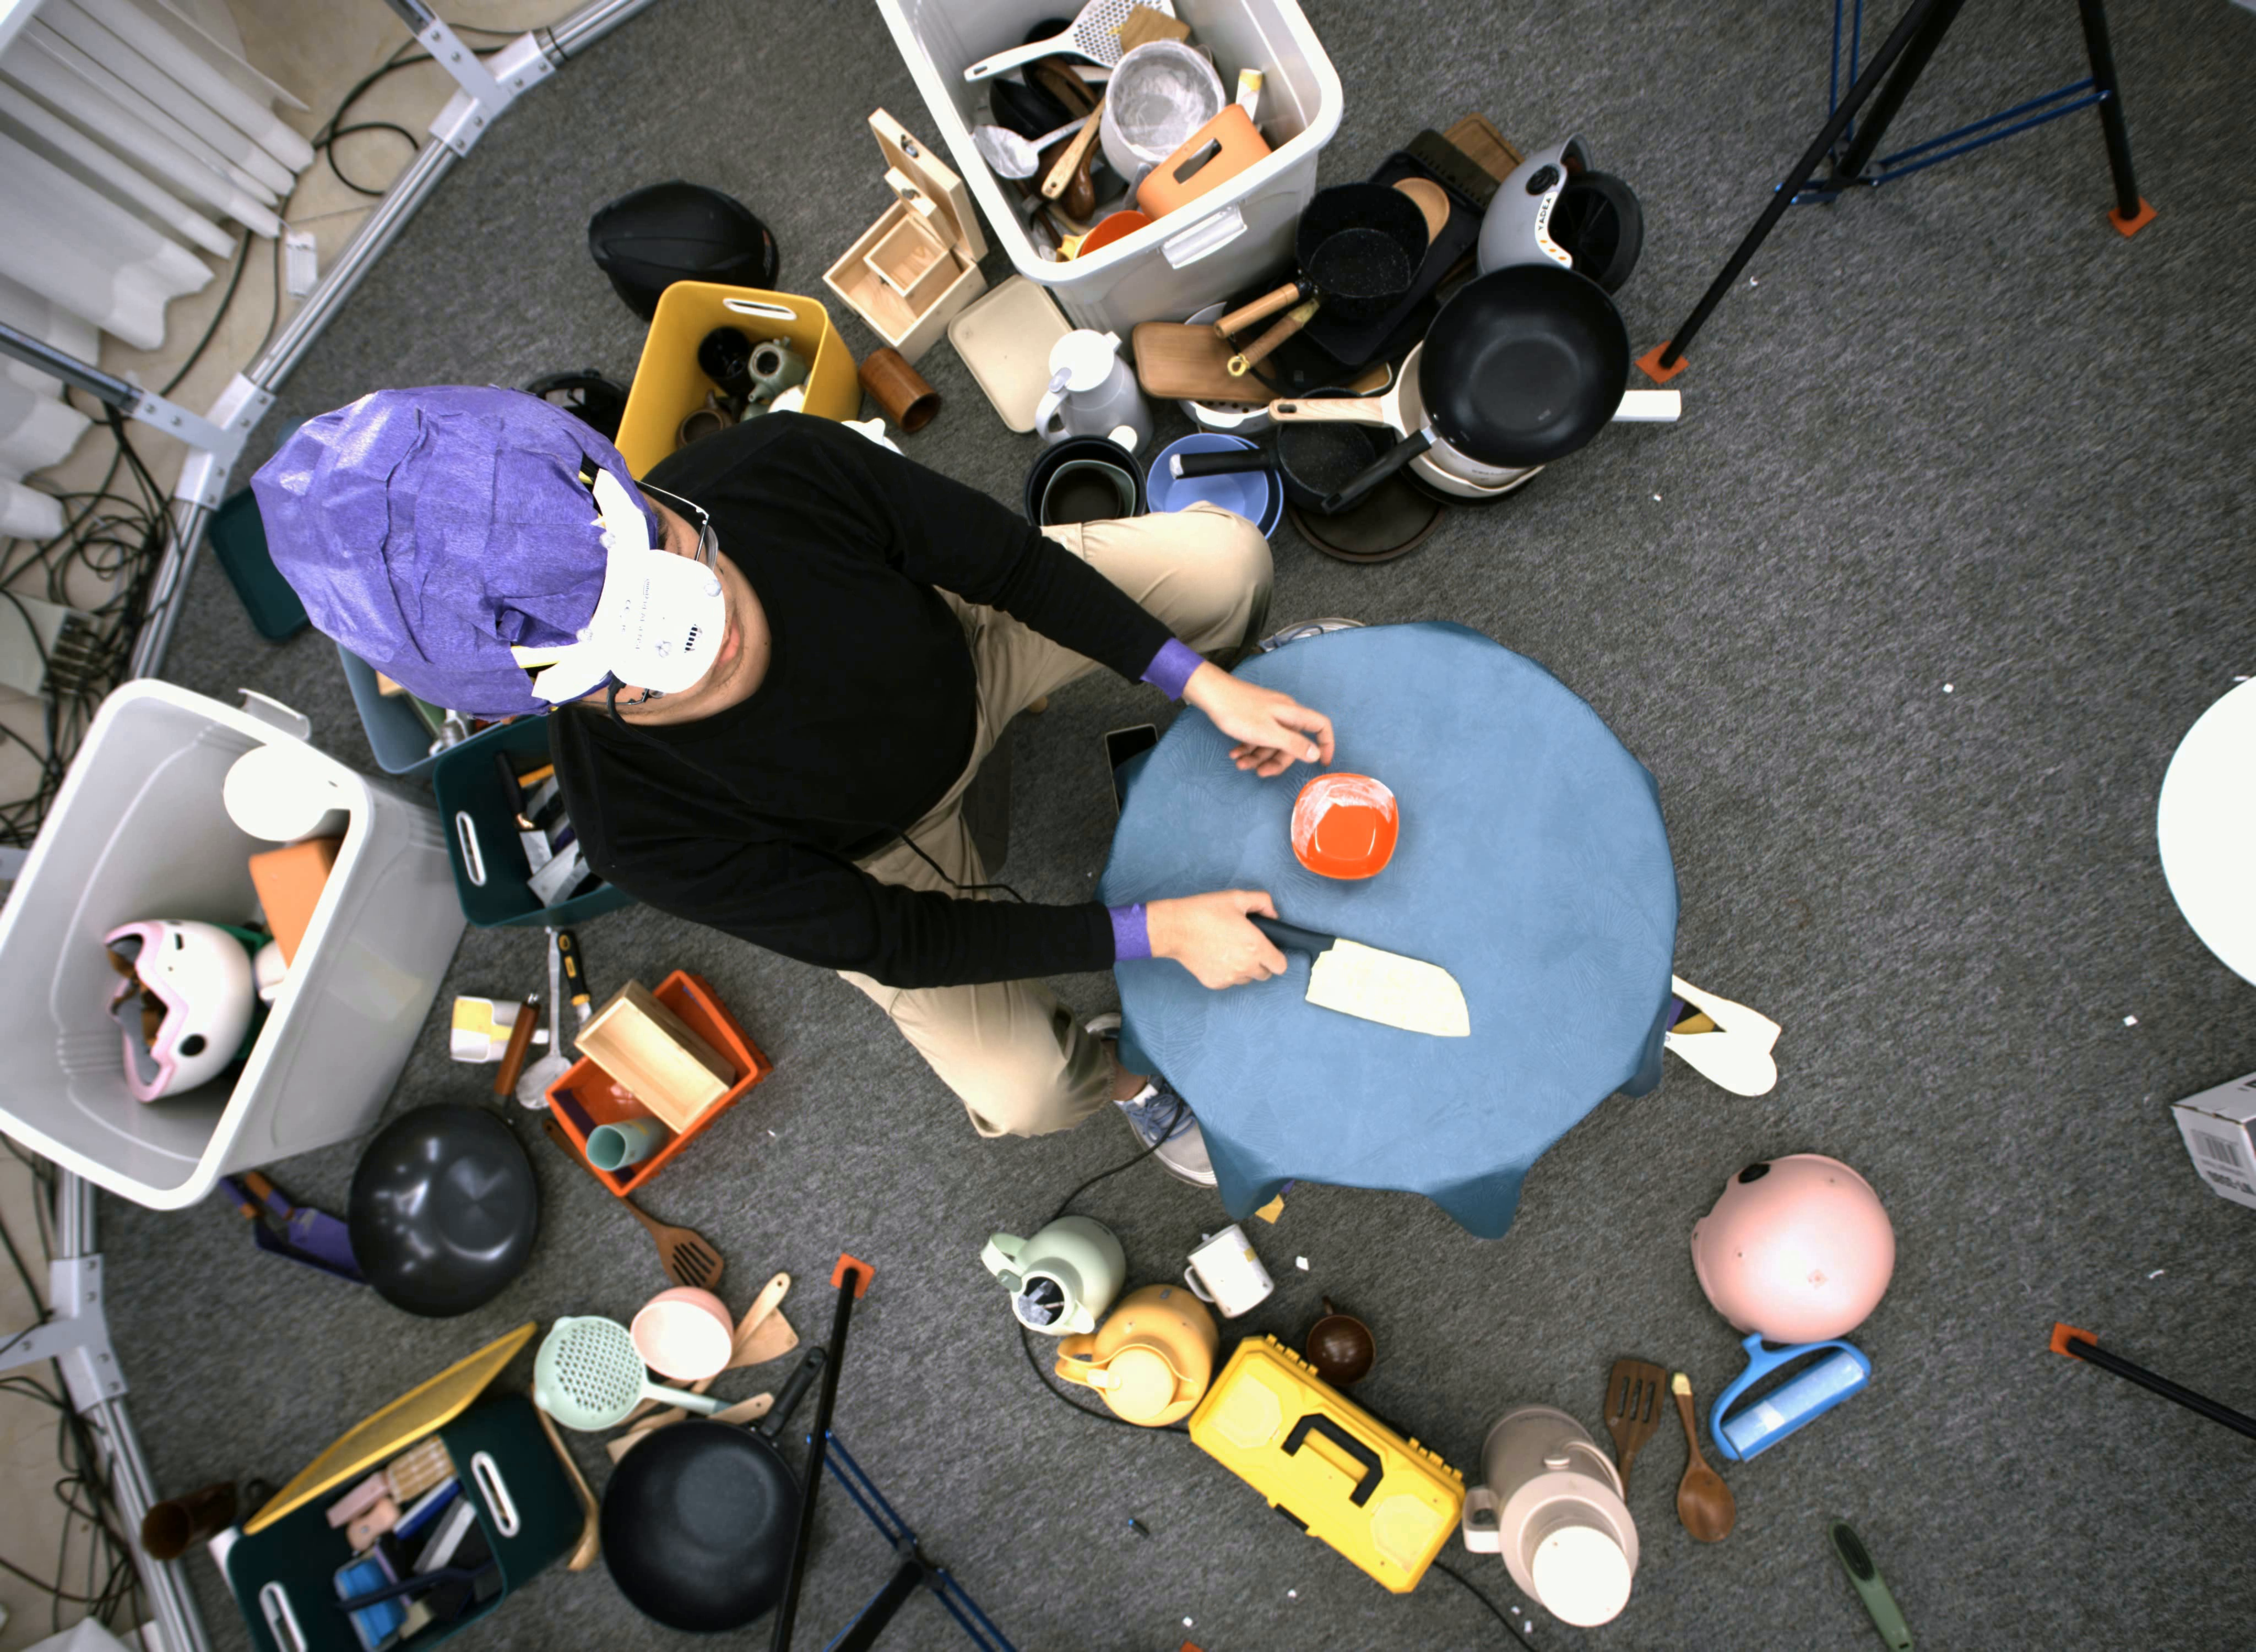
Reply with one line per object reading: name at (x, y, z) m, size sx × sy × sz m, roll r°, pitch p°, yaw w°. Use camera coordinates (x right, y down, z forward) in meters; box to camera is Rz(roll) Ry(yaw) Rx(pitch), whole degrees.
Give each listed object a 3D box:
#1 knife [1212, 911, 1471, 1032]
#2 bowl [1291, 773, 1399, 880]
knife at (0.221, 0.151, 1.459) m, size 0.289 × 0.027 × 0.081 m, roll 18°, pitch 91°, yaw 10°
bowl at (0.227, 0.001, 1.446) m, size 0.119 × 0.051 × 0.118 m, roll 0°, pitch 88°, yaw 10°
